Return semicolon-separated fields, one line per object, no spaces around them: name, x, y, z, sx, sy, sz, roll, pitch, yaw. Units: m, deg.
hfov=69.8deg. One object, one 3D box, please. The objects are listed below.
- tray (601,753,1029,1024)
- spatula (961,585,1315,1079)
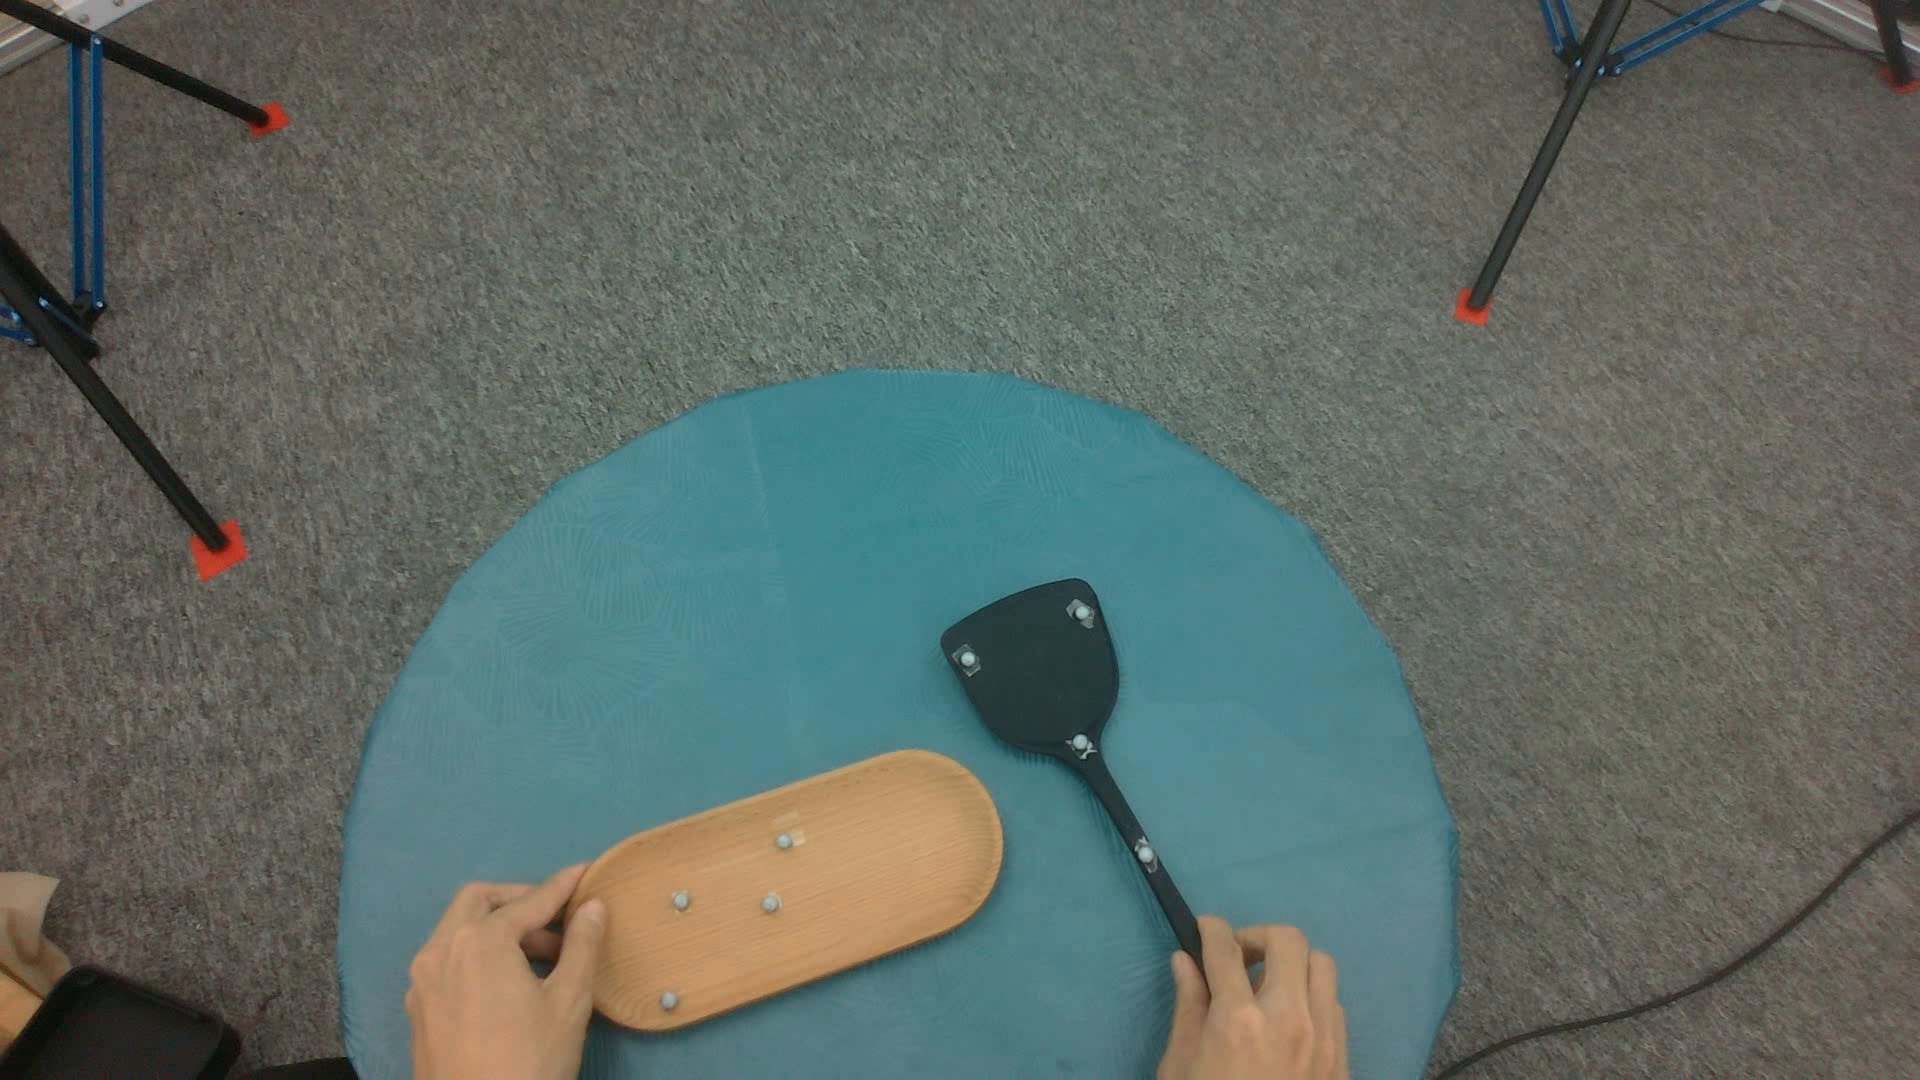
tray;-0.075;0.184;0.736;0.231;0.020;0.102;-16;64;-12
spatula;0.109;0.167;0.731;0.100;0.040;0.327;-22;57;-14
